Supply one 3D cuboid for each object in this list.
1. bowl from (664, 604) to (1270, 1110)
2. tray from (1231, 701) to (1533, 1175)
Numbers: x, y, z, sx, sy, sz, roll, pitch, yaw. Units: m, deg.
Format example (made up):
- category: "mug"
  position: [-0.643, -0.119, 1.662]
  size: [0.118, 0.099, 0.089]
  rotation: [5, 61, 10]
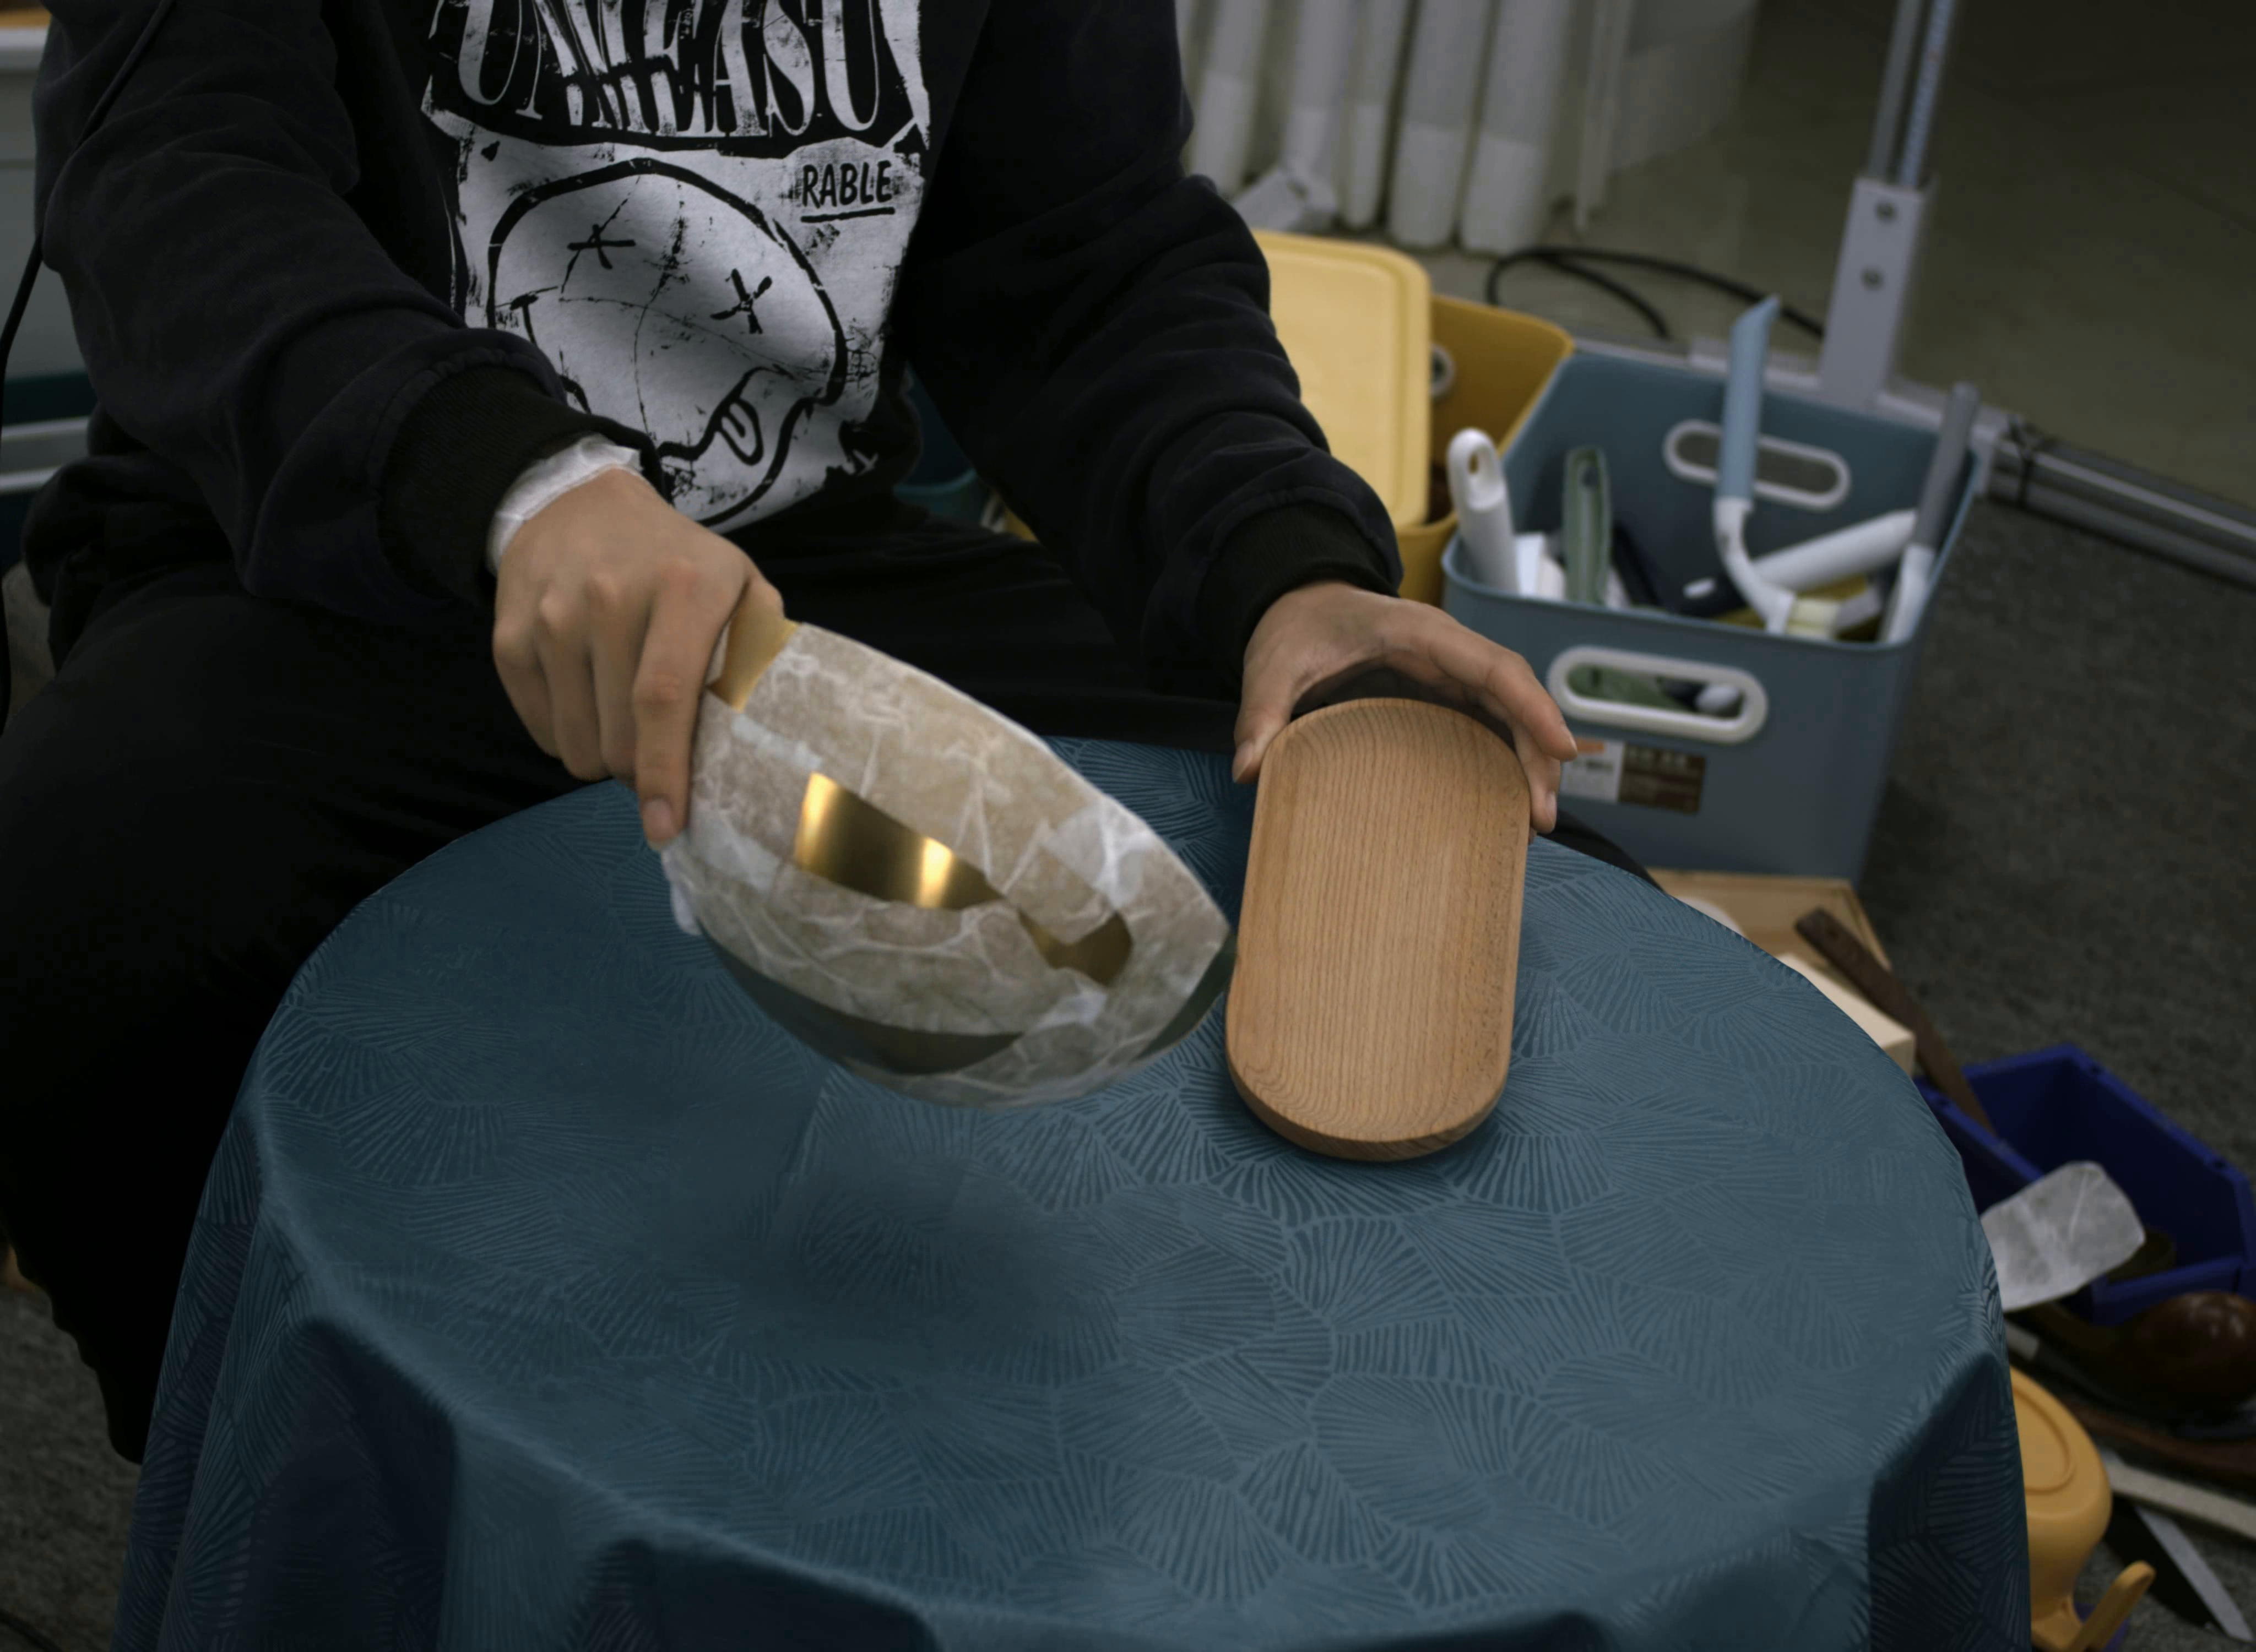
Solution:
- category: "bowl"
  position: [-0.069, 0.029, 1.682]
  size: [0.216, 0.213, 0.095]
  rotation: [24, 73, 29]
- category: "tray"
  position: [0.092, 0.038, 1.909]
  size: [0.101, 0.020, 0.233]
  rotation: [3, 45, 5]
